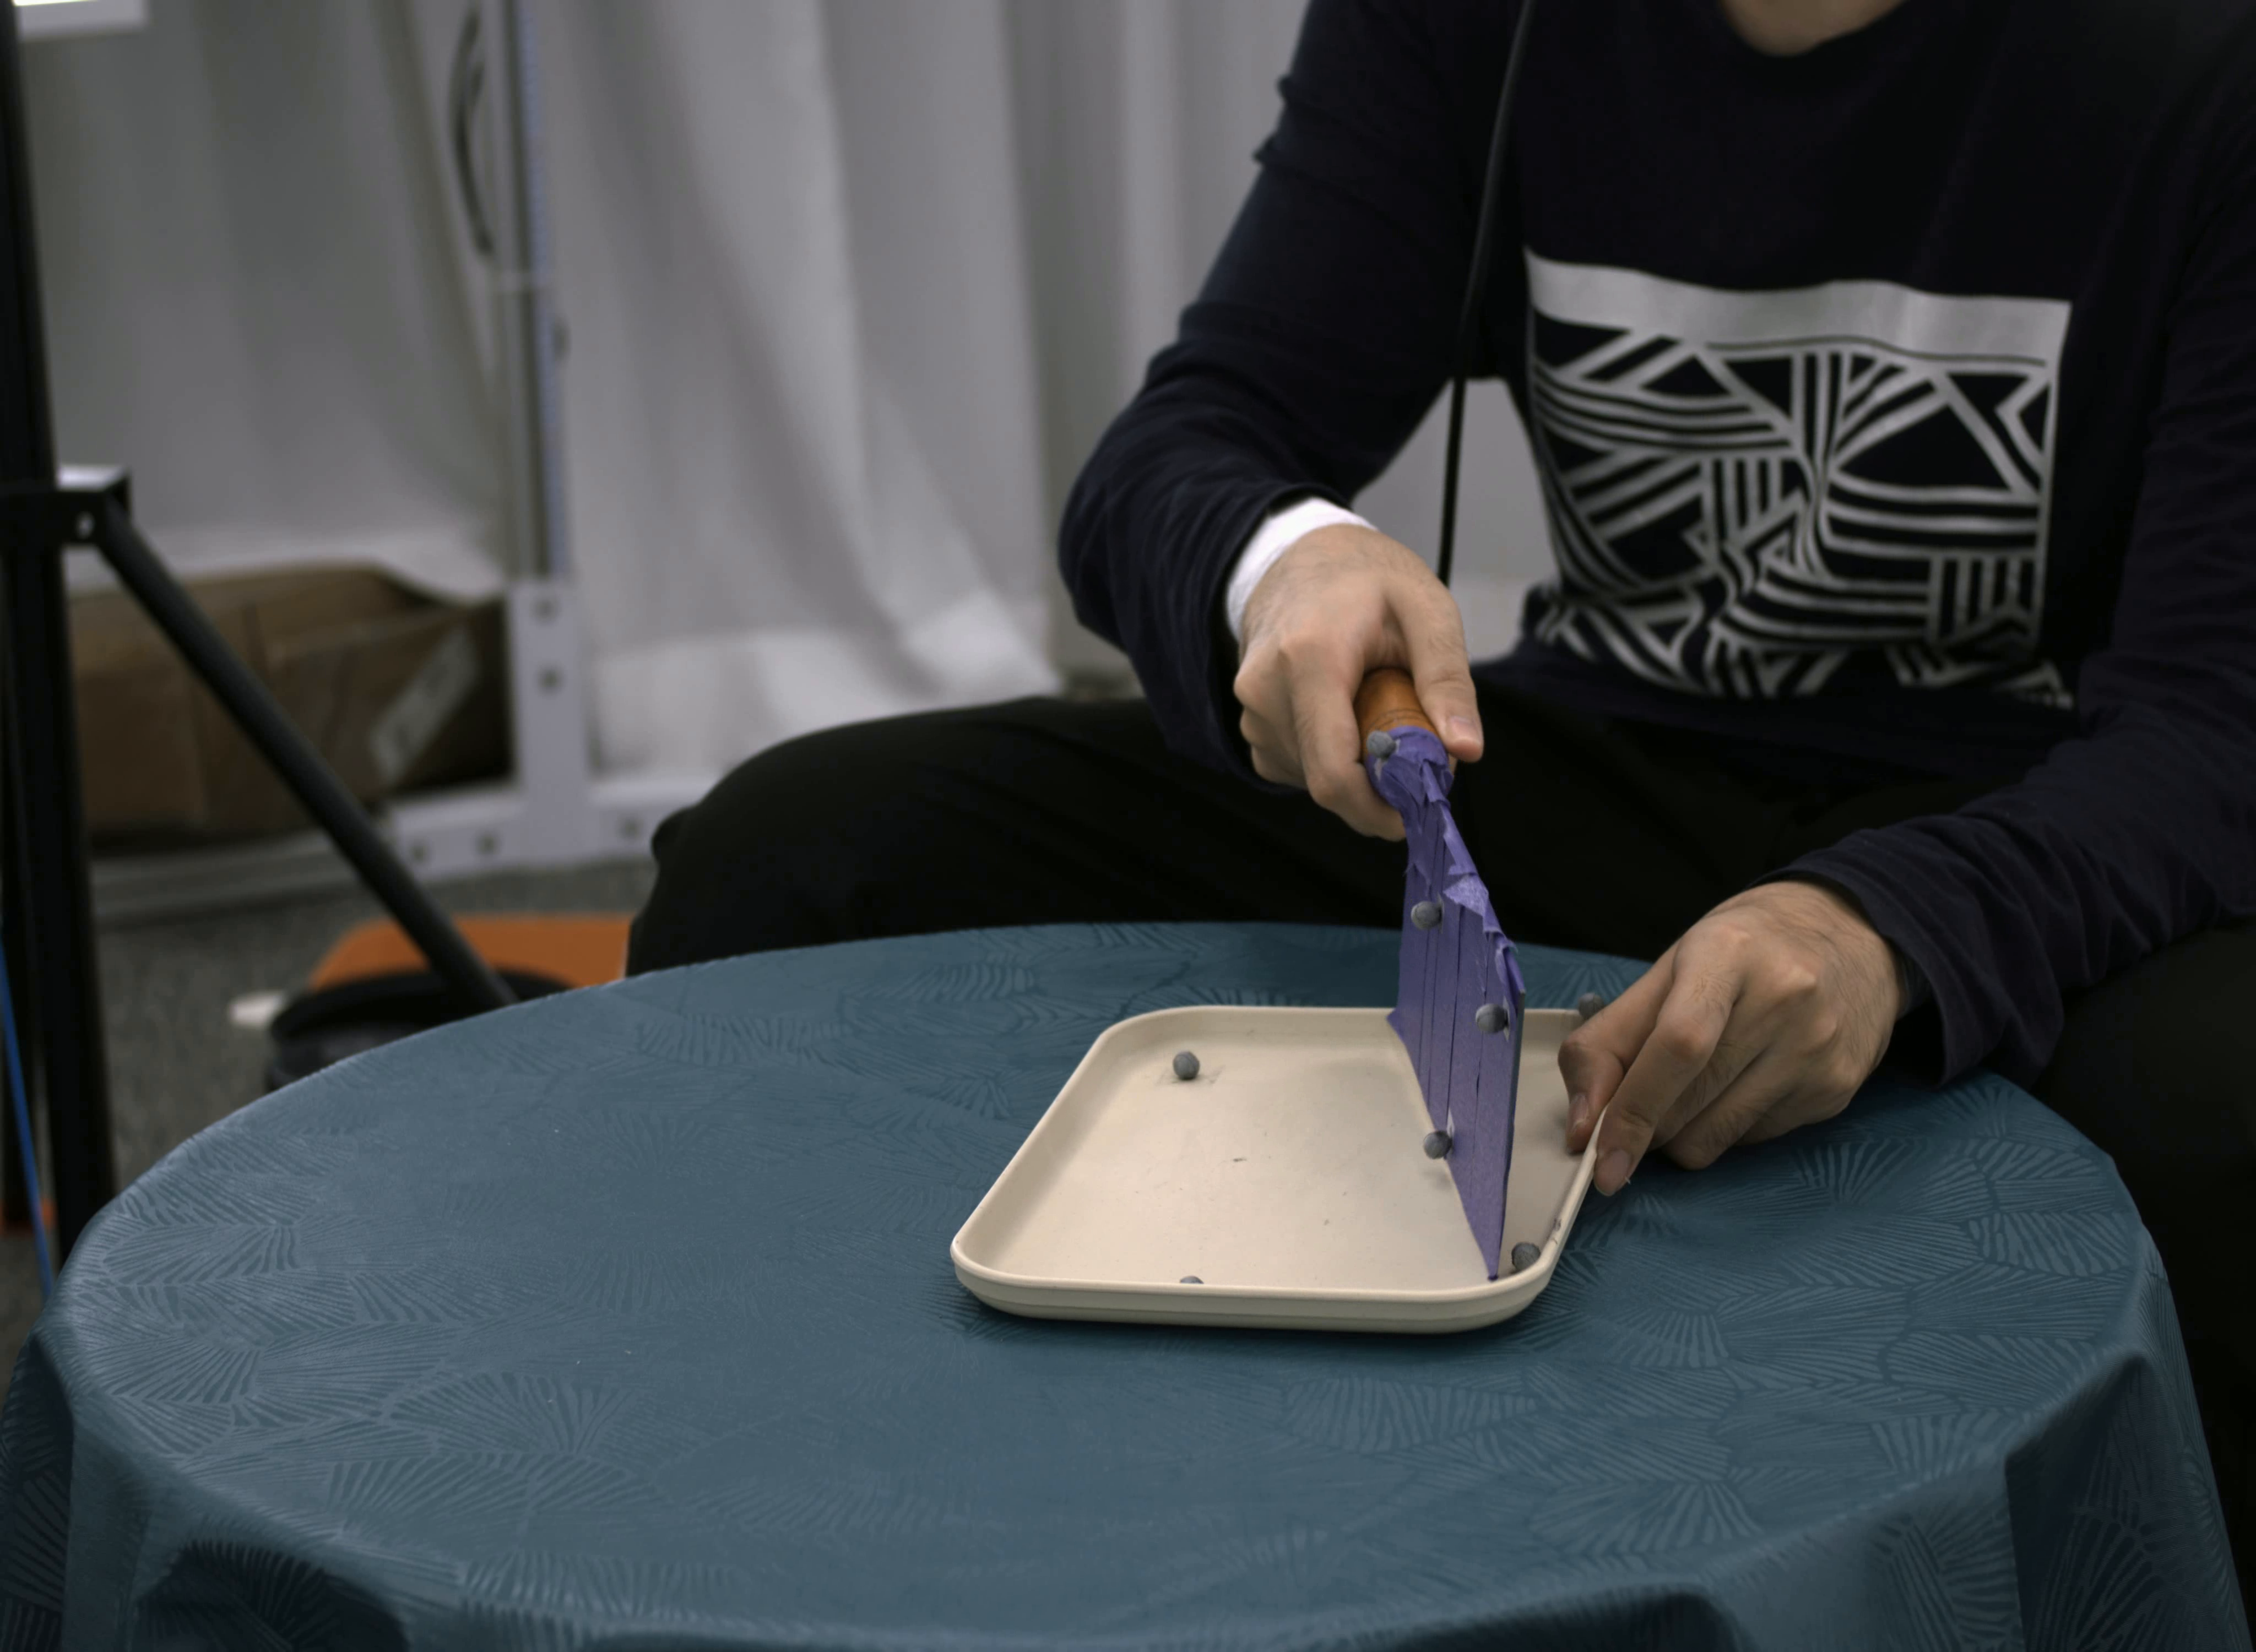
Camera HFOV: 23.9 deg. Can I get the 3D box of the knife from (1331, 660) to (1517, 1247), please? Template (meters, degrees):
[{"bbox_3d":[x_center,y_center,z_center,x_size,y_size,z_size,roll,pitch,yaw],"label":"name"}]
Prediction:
[{"bbox_3d":[0.086,0.035,1.590,0.032,0.104,0.317,4,17,-4],"label":"knife"}]

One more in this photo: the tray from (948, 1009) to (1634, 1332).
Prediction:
[{"bbox_3d":[0.052,0.099,1.546,0.172,0.017,0.238,-1,17,15],"label":"tray"}]
